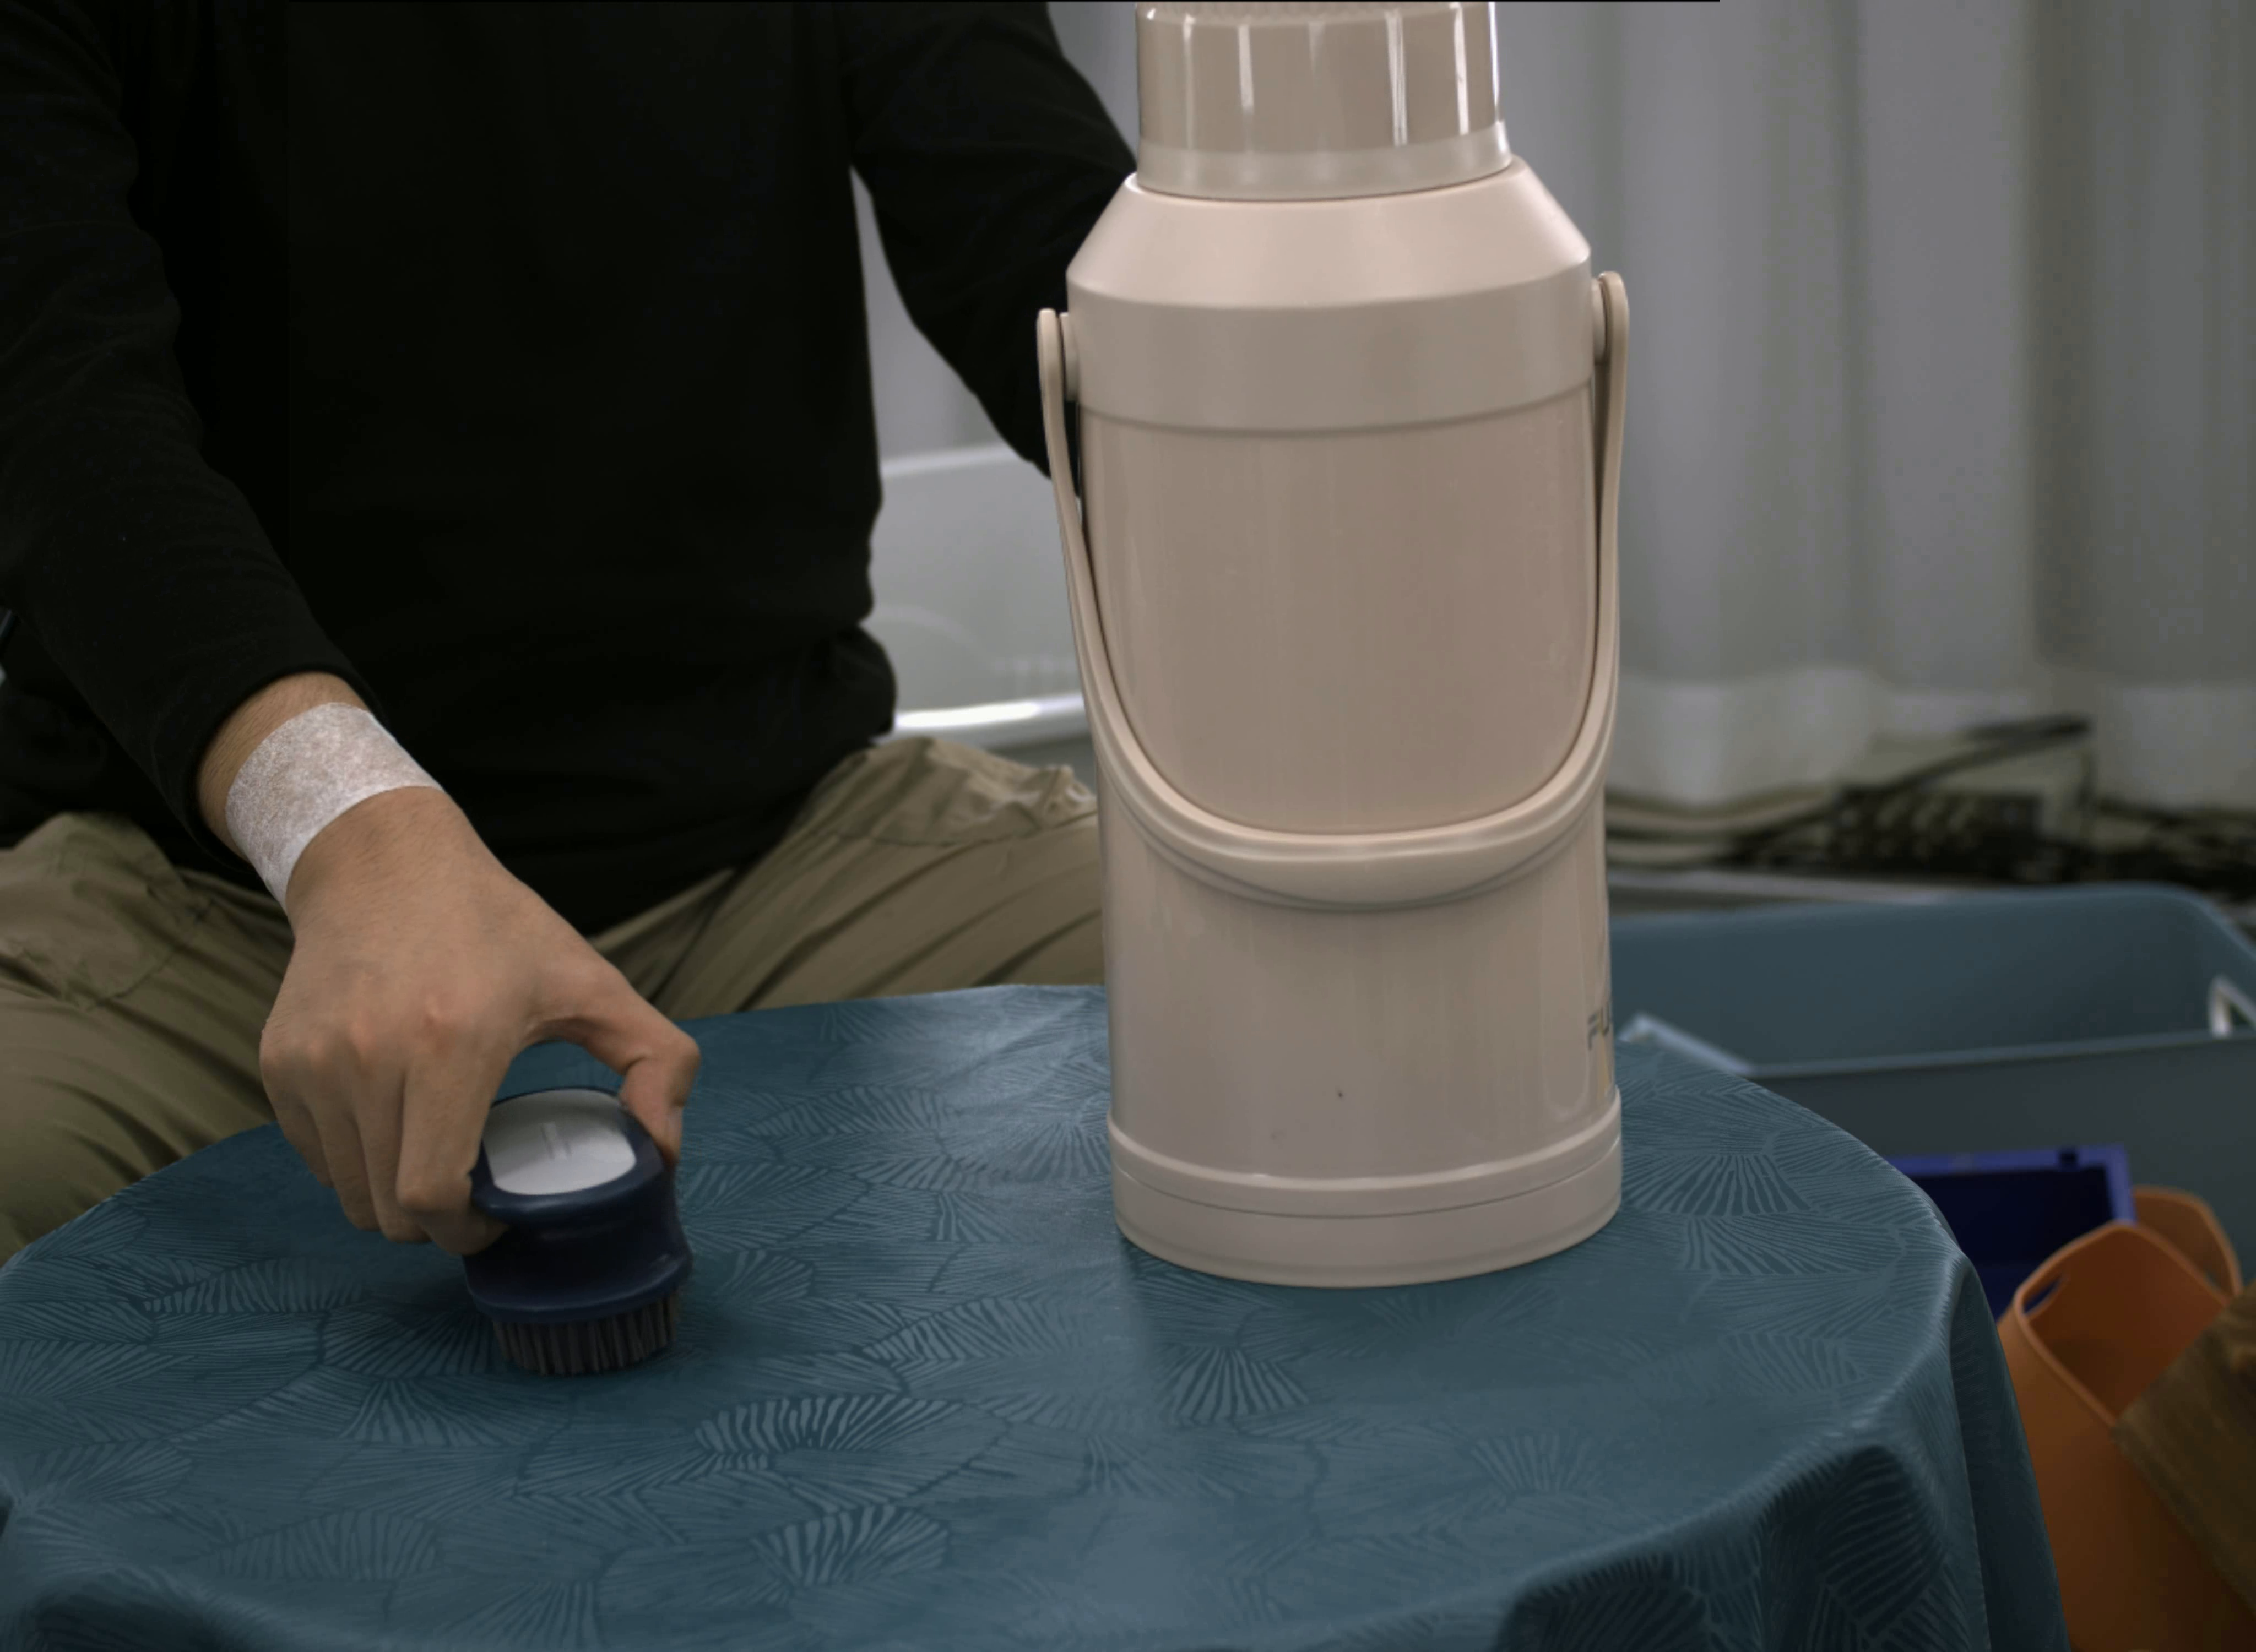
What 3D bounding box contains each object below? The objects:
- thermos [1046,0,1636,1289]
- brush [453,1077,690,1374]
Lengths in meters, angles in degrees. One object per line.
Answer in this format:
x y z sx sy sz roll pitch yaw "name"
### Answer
0.067 -0.078 1.661 0.174 0.405 0.208 -5 14 -4 "thermos"
-0.165 0.119 1.619 0.067 0.061 0.122 -6 17 -7 "brush"
